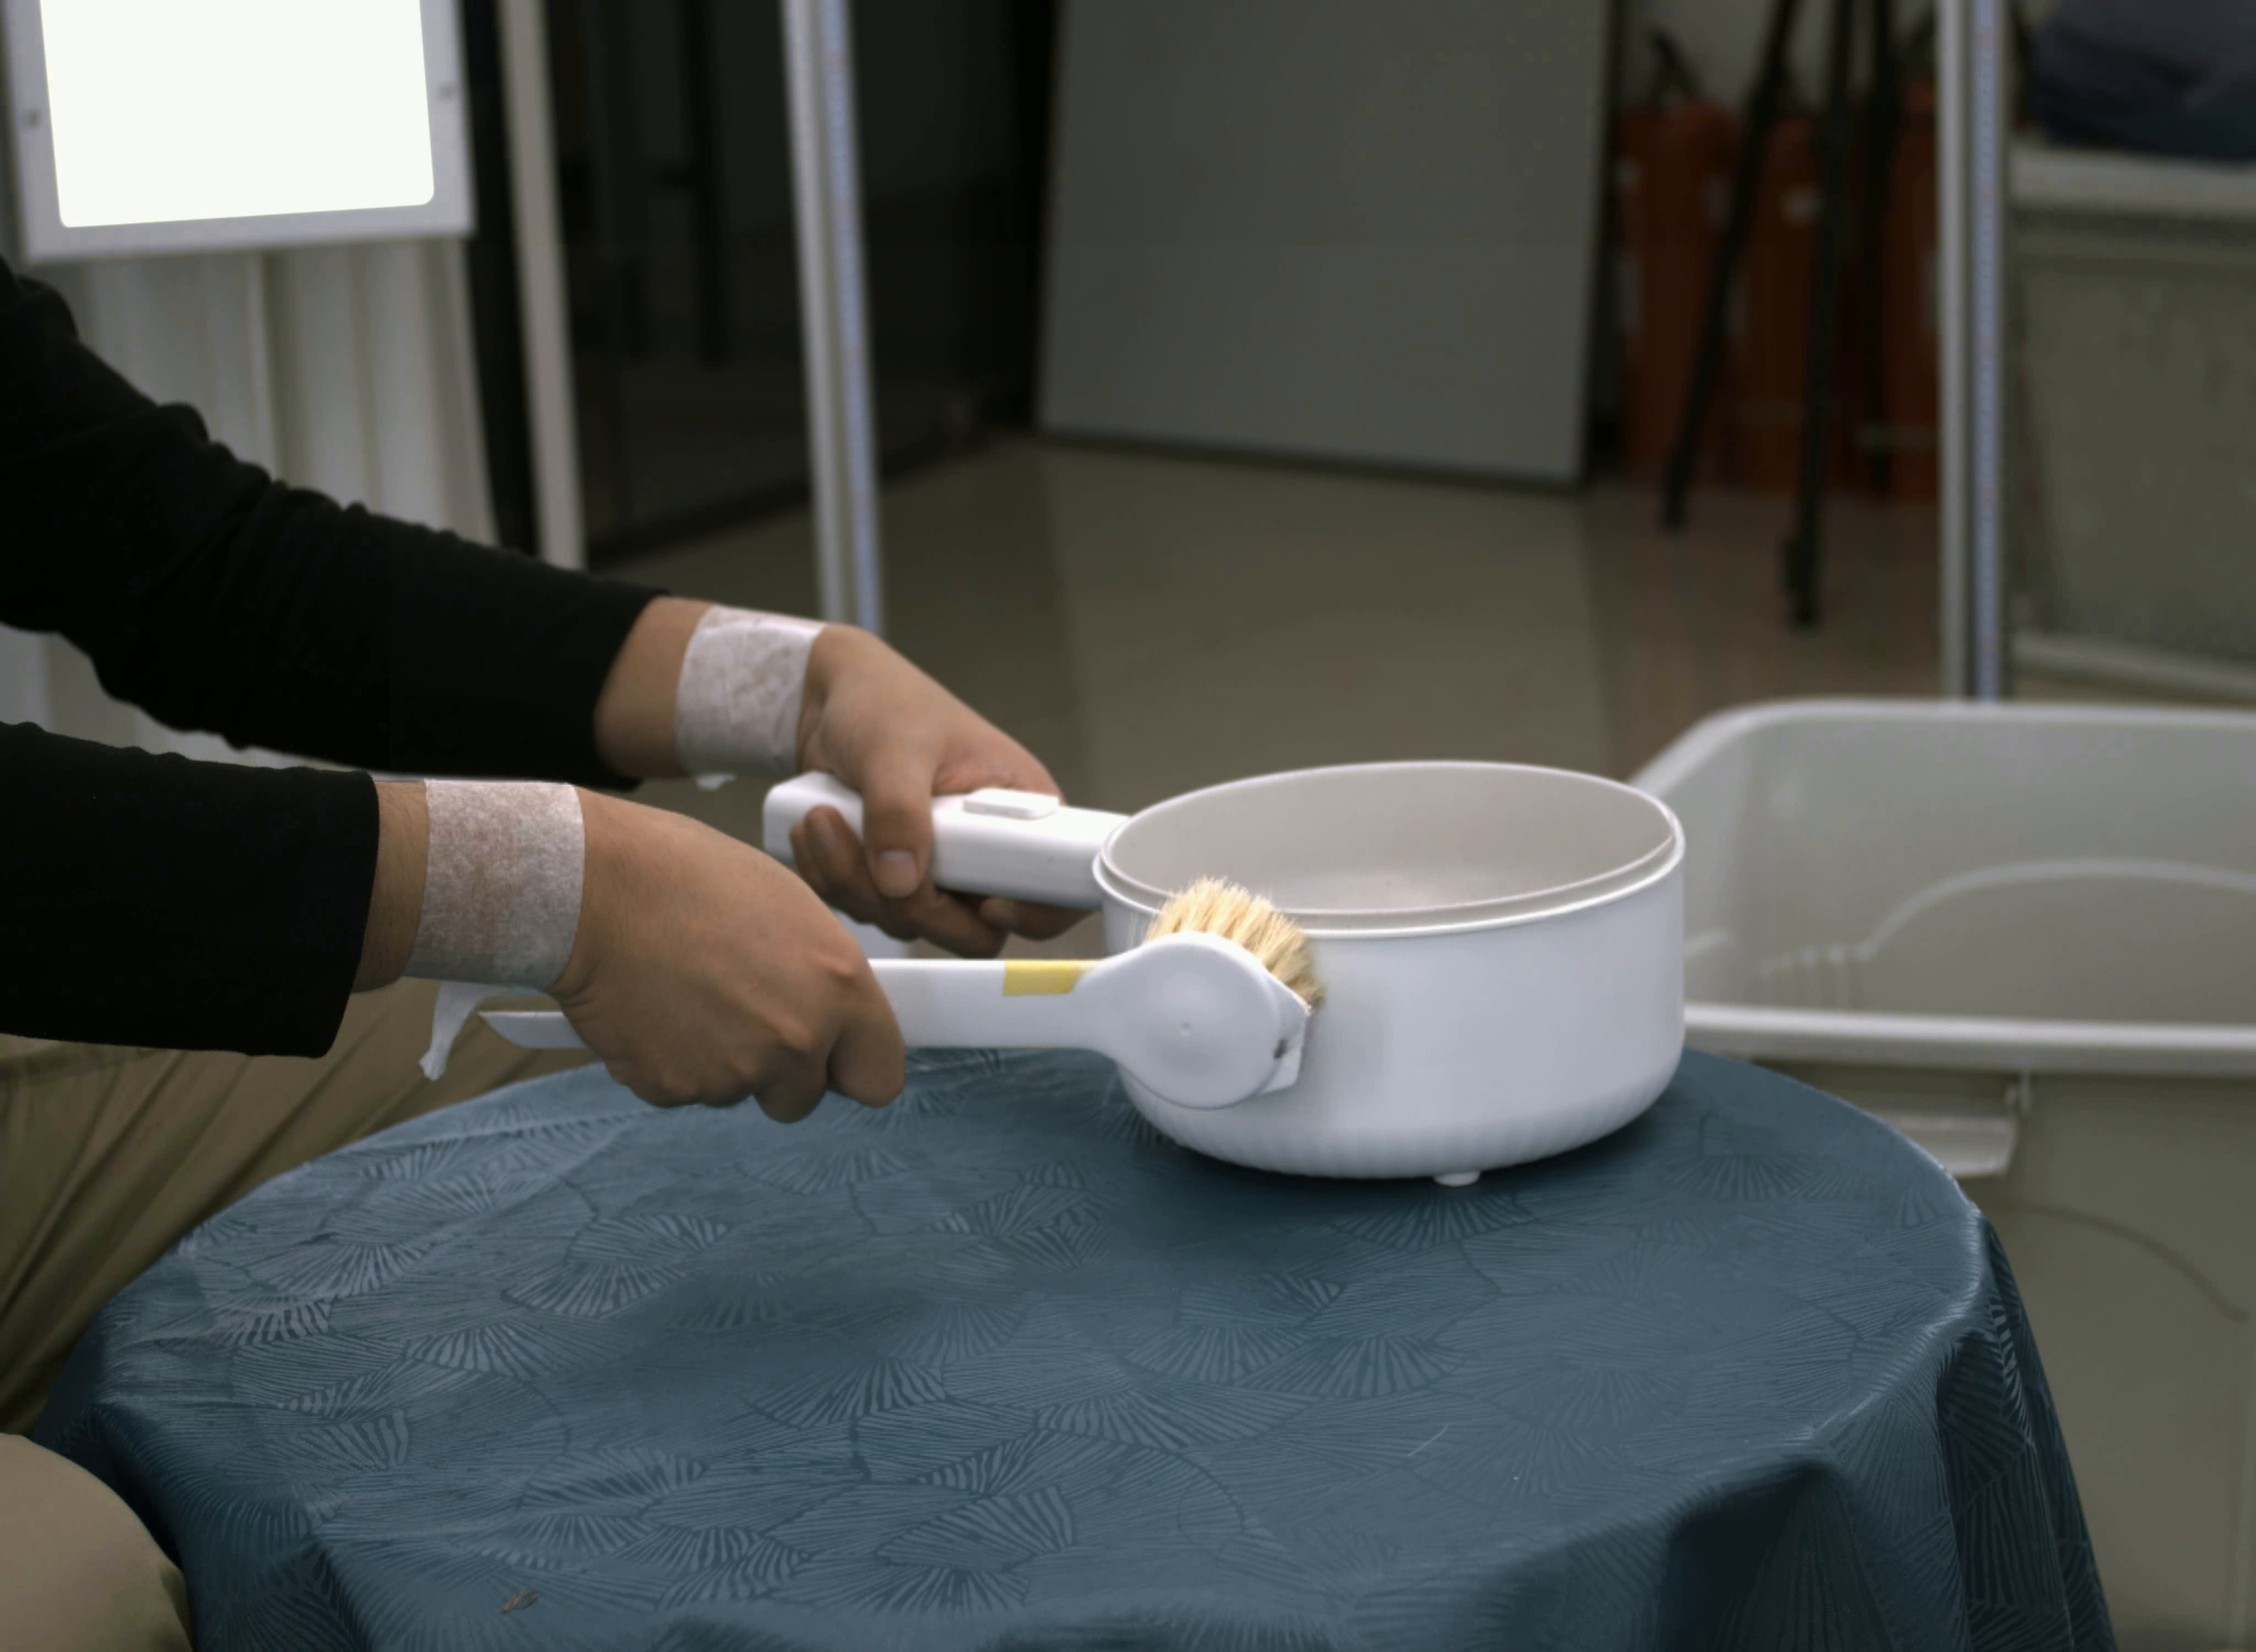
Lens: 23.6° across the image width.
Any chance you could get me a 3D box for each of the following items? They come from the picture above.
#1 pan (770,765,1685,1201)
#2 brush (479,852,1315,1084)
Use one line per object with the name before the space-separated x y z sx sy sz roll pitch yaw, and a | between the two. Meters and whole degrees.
pan | 0.028 0.050 1.860 0.357 0.103 0.198 4 18 35
brush | -0.071 0.047 1.708 0.263 0.069 0.056 0 17 -1
